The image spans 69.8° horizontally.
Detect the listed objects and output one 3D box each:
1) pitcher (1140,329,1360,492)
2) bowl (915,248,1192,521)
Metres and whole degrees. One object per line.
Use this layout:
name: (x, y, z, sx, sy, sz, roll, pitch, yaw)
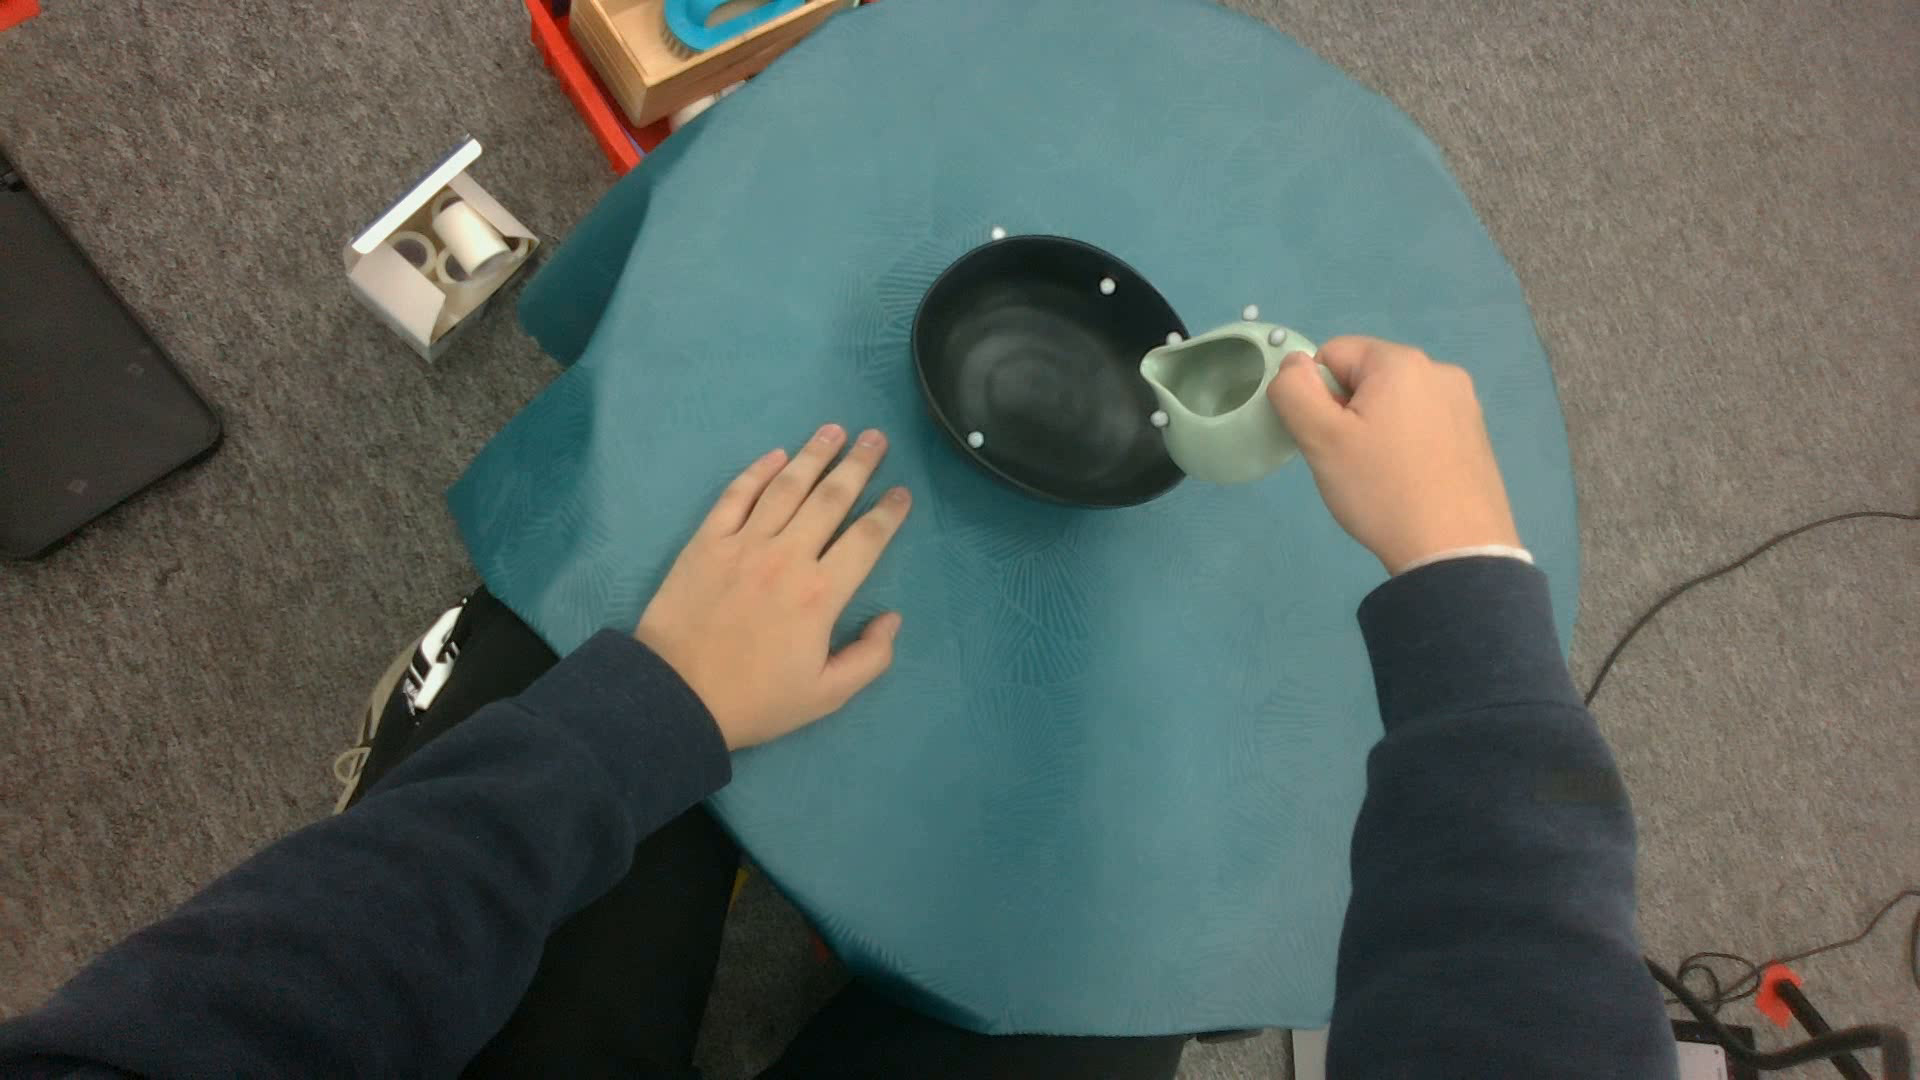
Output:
pitcher: (0.145, -0.066, 0.670, 0.060, 0.108, 0.086, 35, 69, -48)
bowl: (0.049, -0.077, 0.734, 0.170, 0.066, 0.137, 22, 75, -15)
